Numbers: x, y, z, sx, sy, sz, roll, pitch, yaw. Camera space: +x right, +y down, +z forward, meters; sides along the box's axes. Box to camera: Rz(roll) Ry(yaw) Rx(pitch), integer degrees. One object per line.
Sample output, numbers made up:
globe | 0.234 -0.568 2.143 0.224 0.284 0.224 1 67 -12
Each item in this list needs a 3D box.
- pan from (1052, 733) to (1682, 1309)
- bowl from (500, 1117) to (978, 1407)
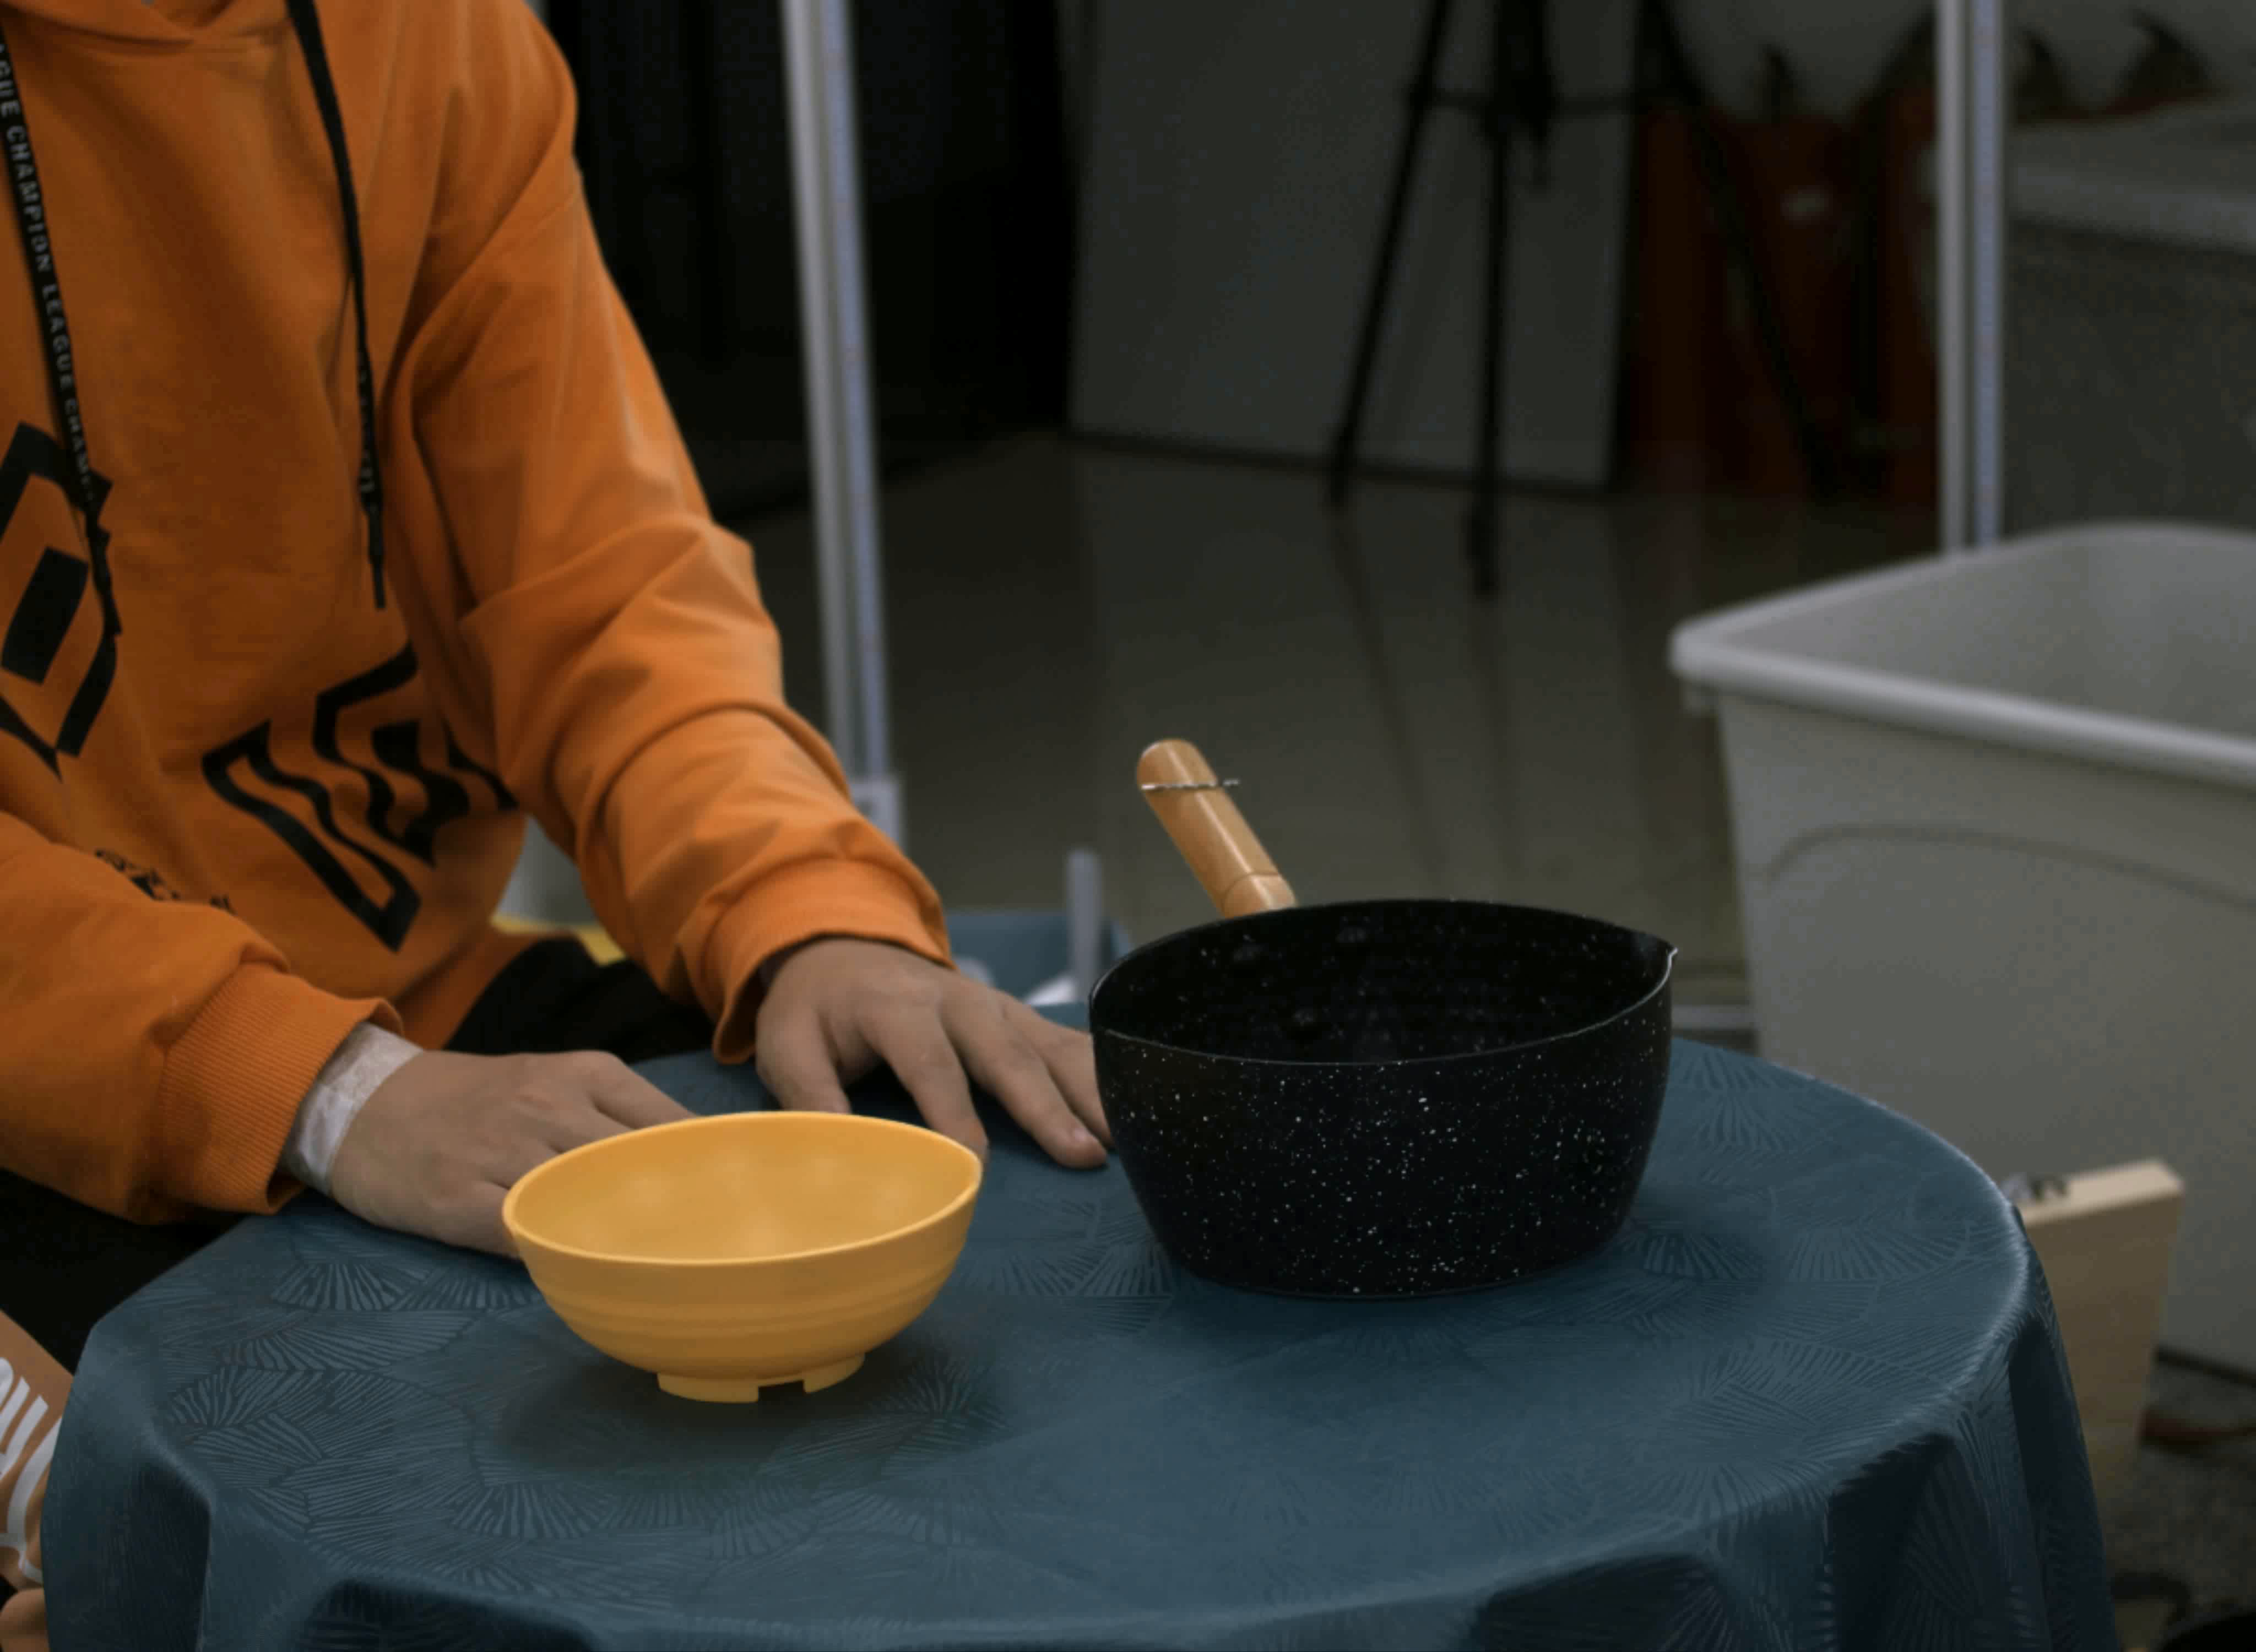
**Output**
pan | 0.059 0.059 1.780 0.203 0.109 0.345 -9 16 -14
bowl | -0.115 0.136 1.624 0.143 0.061 0.145 -3 13 0
